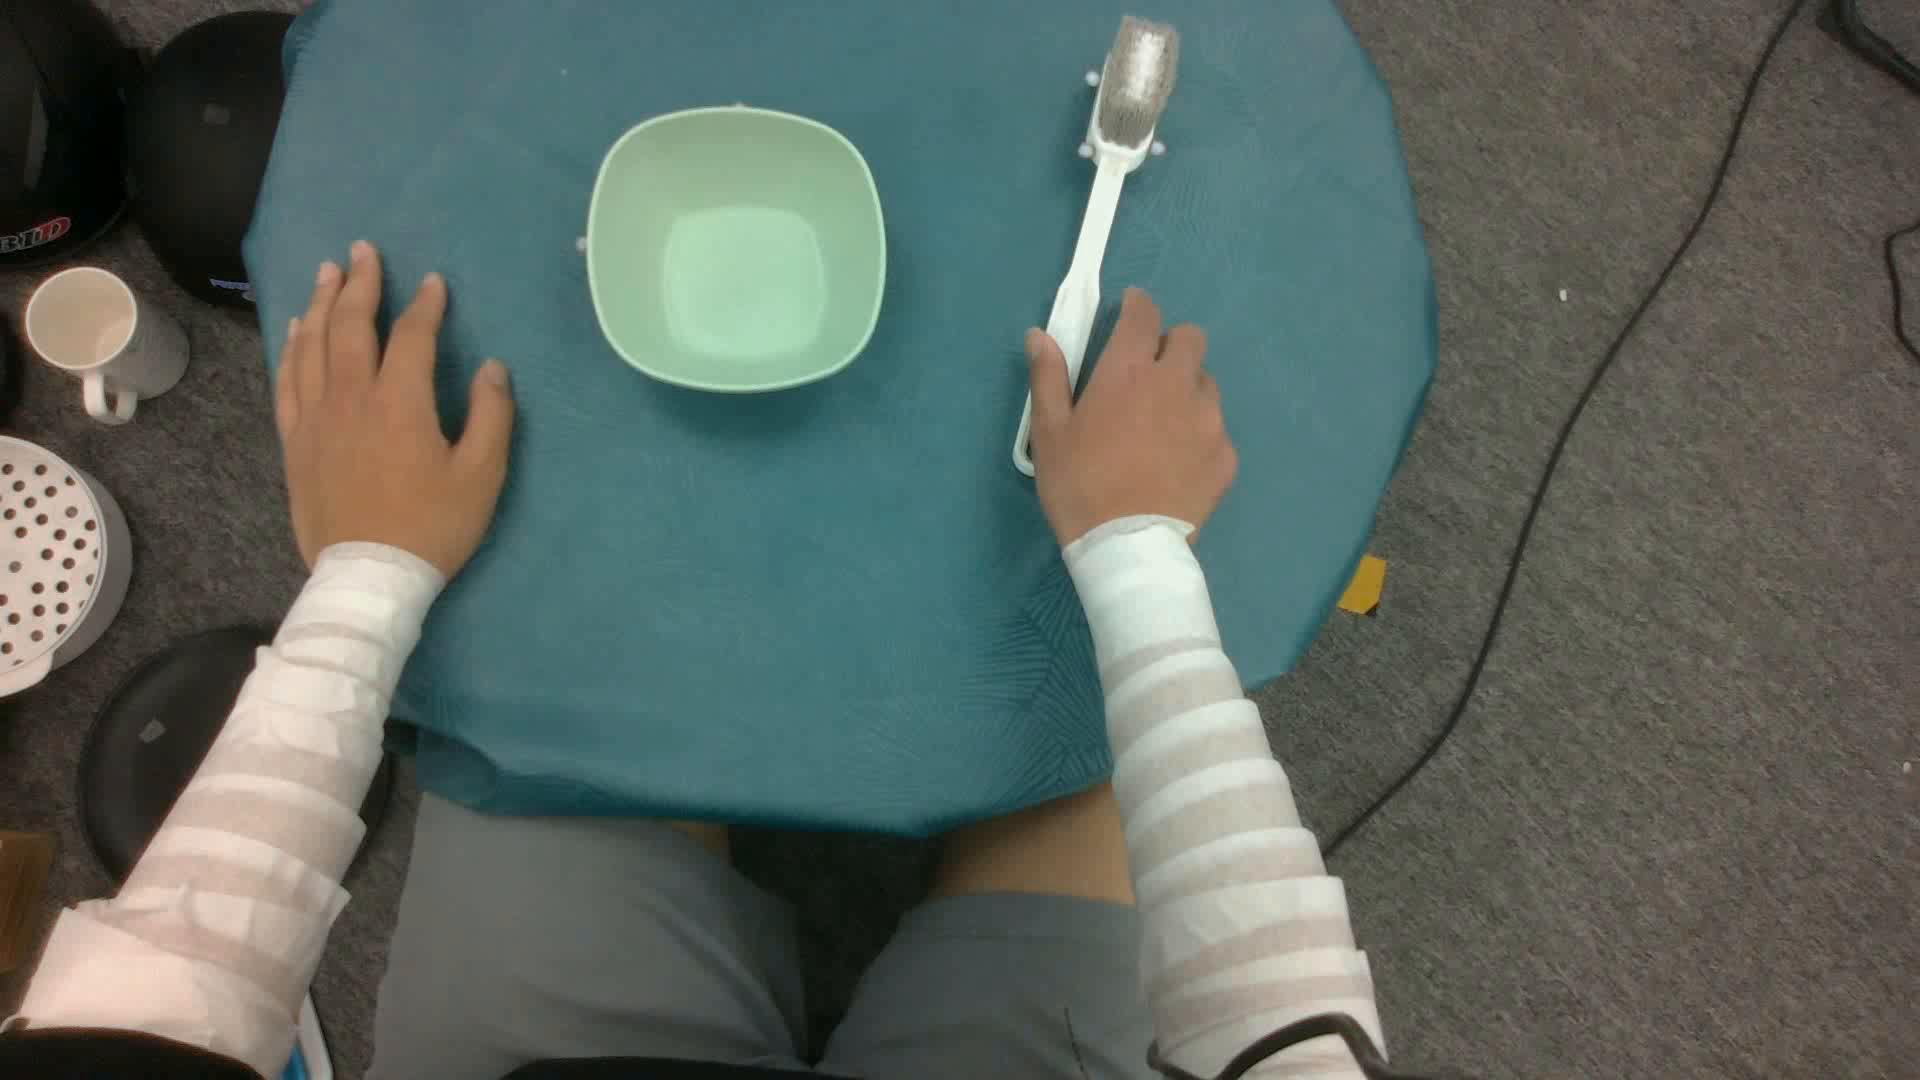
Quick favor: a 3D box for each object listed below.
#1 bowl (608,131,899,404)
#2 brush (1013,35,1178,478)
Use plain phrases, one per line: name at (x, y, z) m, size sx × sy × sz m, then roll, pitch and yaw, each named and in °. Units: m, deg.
bowl at (-0.101, -0.128, 0.690) m, size 0.151 × 0.058 × 0.151 m, roll 1°, pitch 79°, yaw -4°
brush at (0.070, -0.151, 0.714) m, size 0.034 × 0.050 × 0.244 m, roll 16°, pitch 78°, yaw 1°
